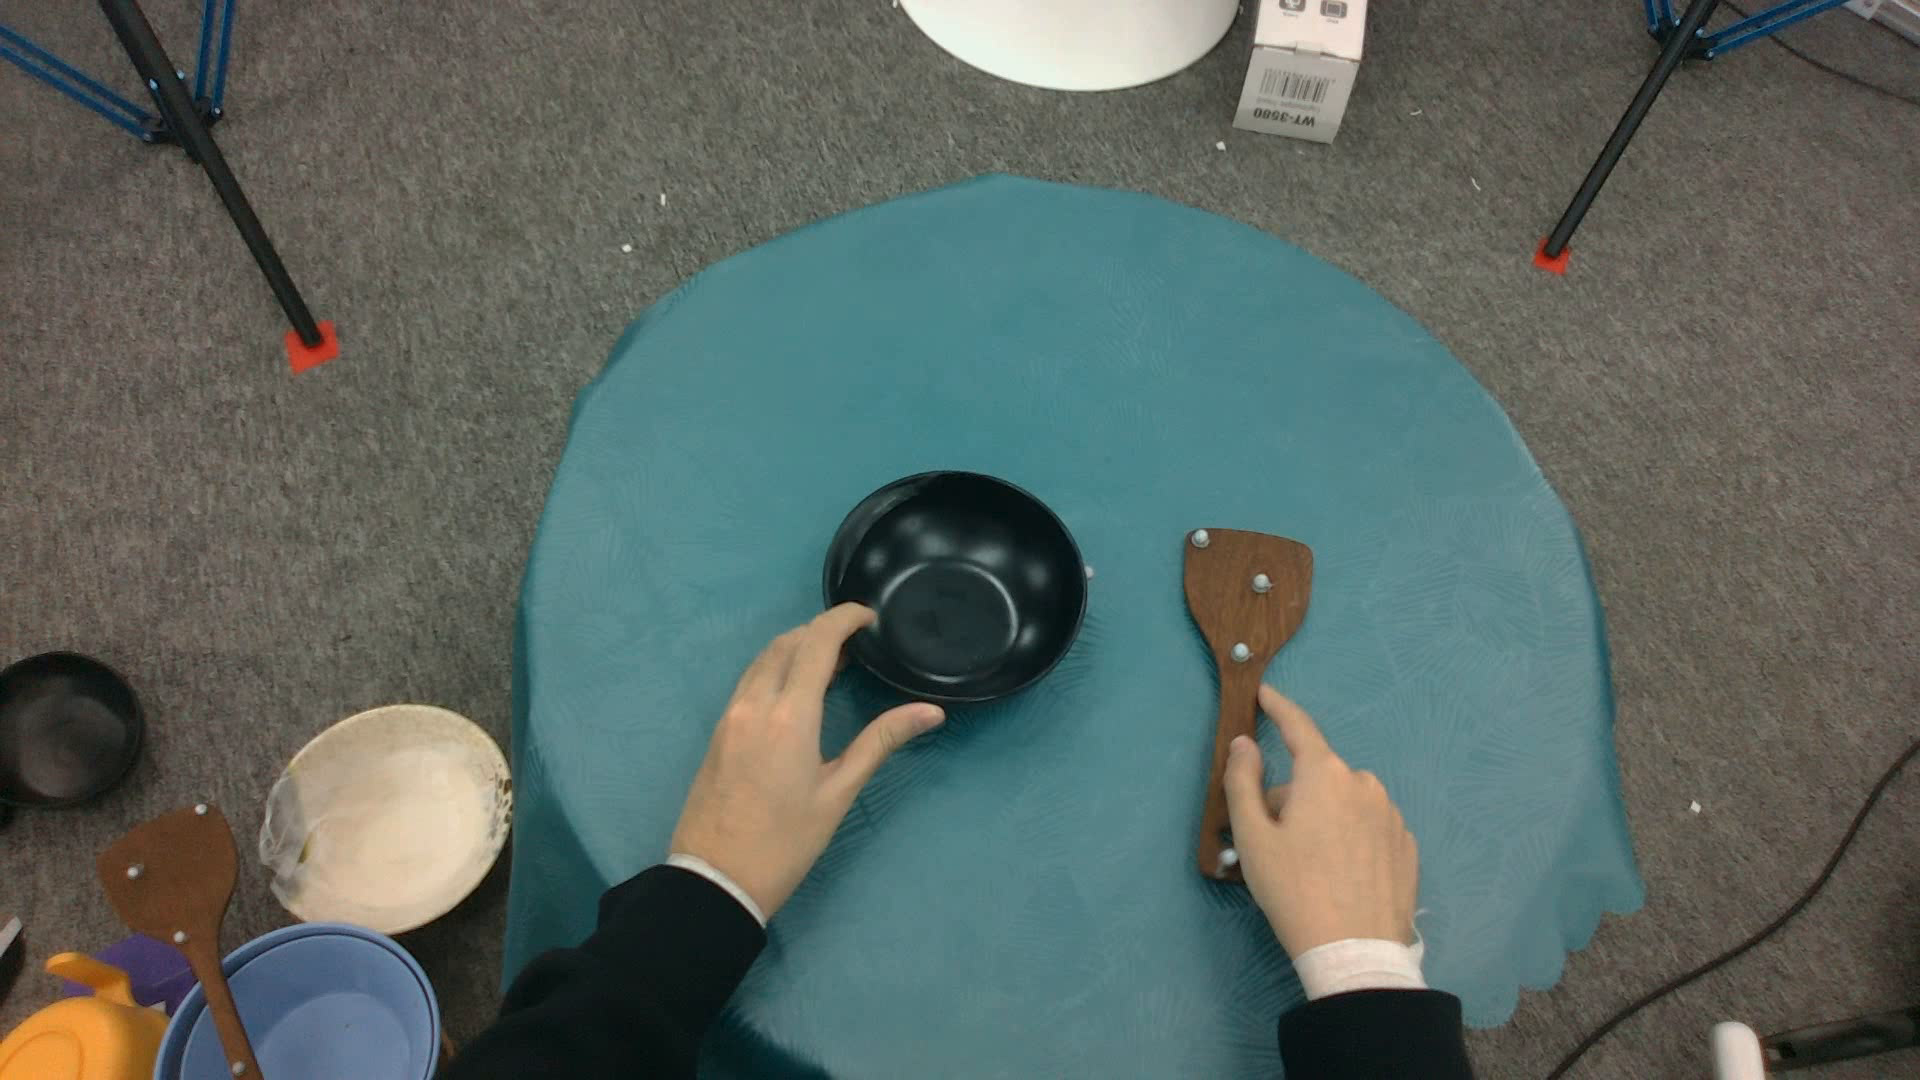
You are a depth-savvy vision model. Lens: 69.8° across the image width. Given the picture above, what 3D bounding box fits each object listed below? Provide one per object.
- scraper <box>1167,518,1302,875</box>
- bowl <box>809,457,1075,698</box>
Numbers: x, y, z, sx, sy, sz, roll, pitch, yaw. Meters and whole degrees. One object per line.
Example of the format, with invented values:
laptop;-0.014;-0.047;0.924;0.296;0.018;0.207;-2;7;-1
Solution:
scraper;0.140;0.077;0.733;0.076;0.011;0.212;11;55;3
bowl;-0.012;0.026;0.729;0.140;0.049;0.140;4;58;-6
